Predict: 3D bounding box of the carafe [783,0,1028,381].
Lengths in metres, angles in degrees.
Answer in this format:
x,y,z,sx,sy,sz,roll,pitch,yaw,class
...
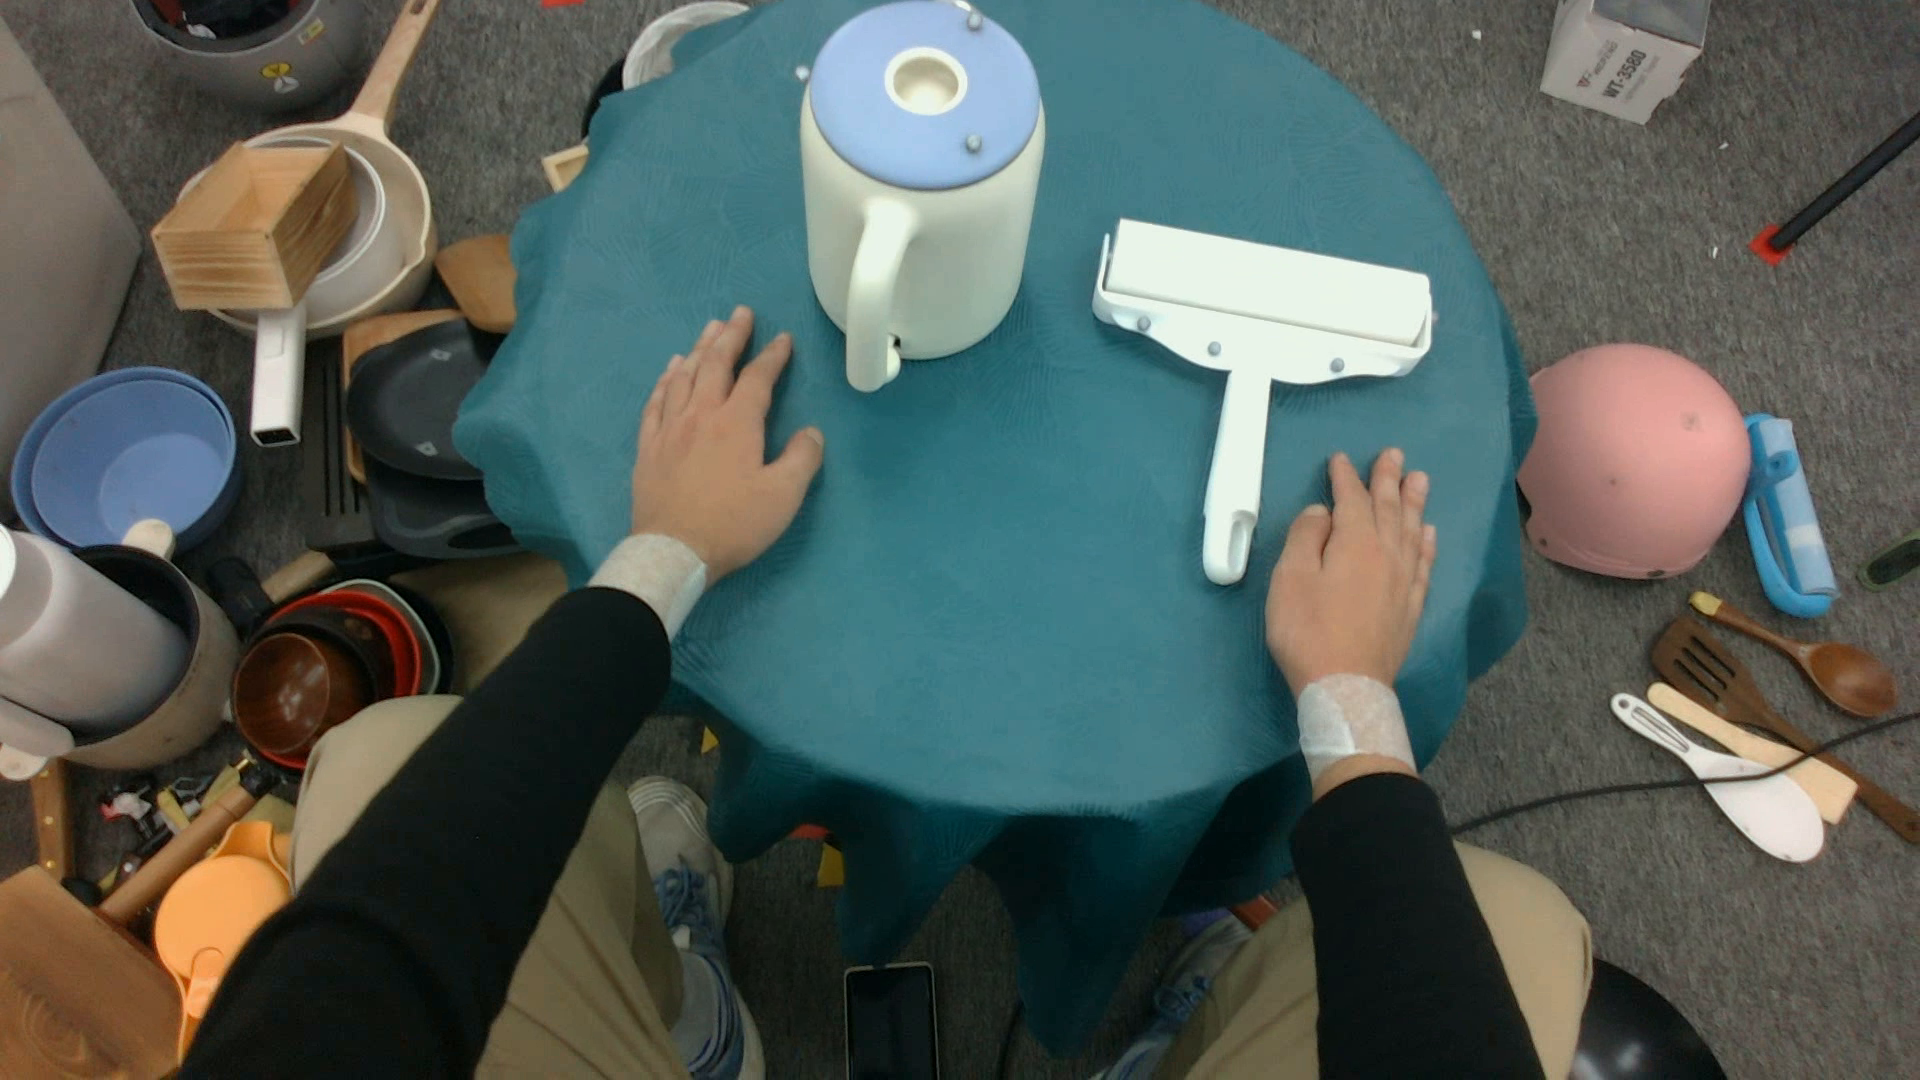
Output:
x,y,z,sx,sy,sz,roll,pitch,yaw,class
-0.038,-0.185,0.771,0.132,0.182,0.192,12,69,1,carafe

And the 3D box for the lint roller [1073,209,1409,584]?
x,y,z,sx,sy,sz,roll,pitch,yaw,class
0.160,-0.083,0.815,0.203,0.048,0.226,10,68,-1,lint roller
